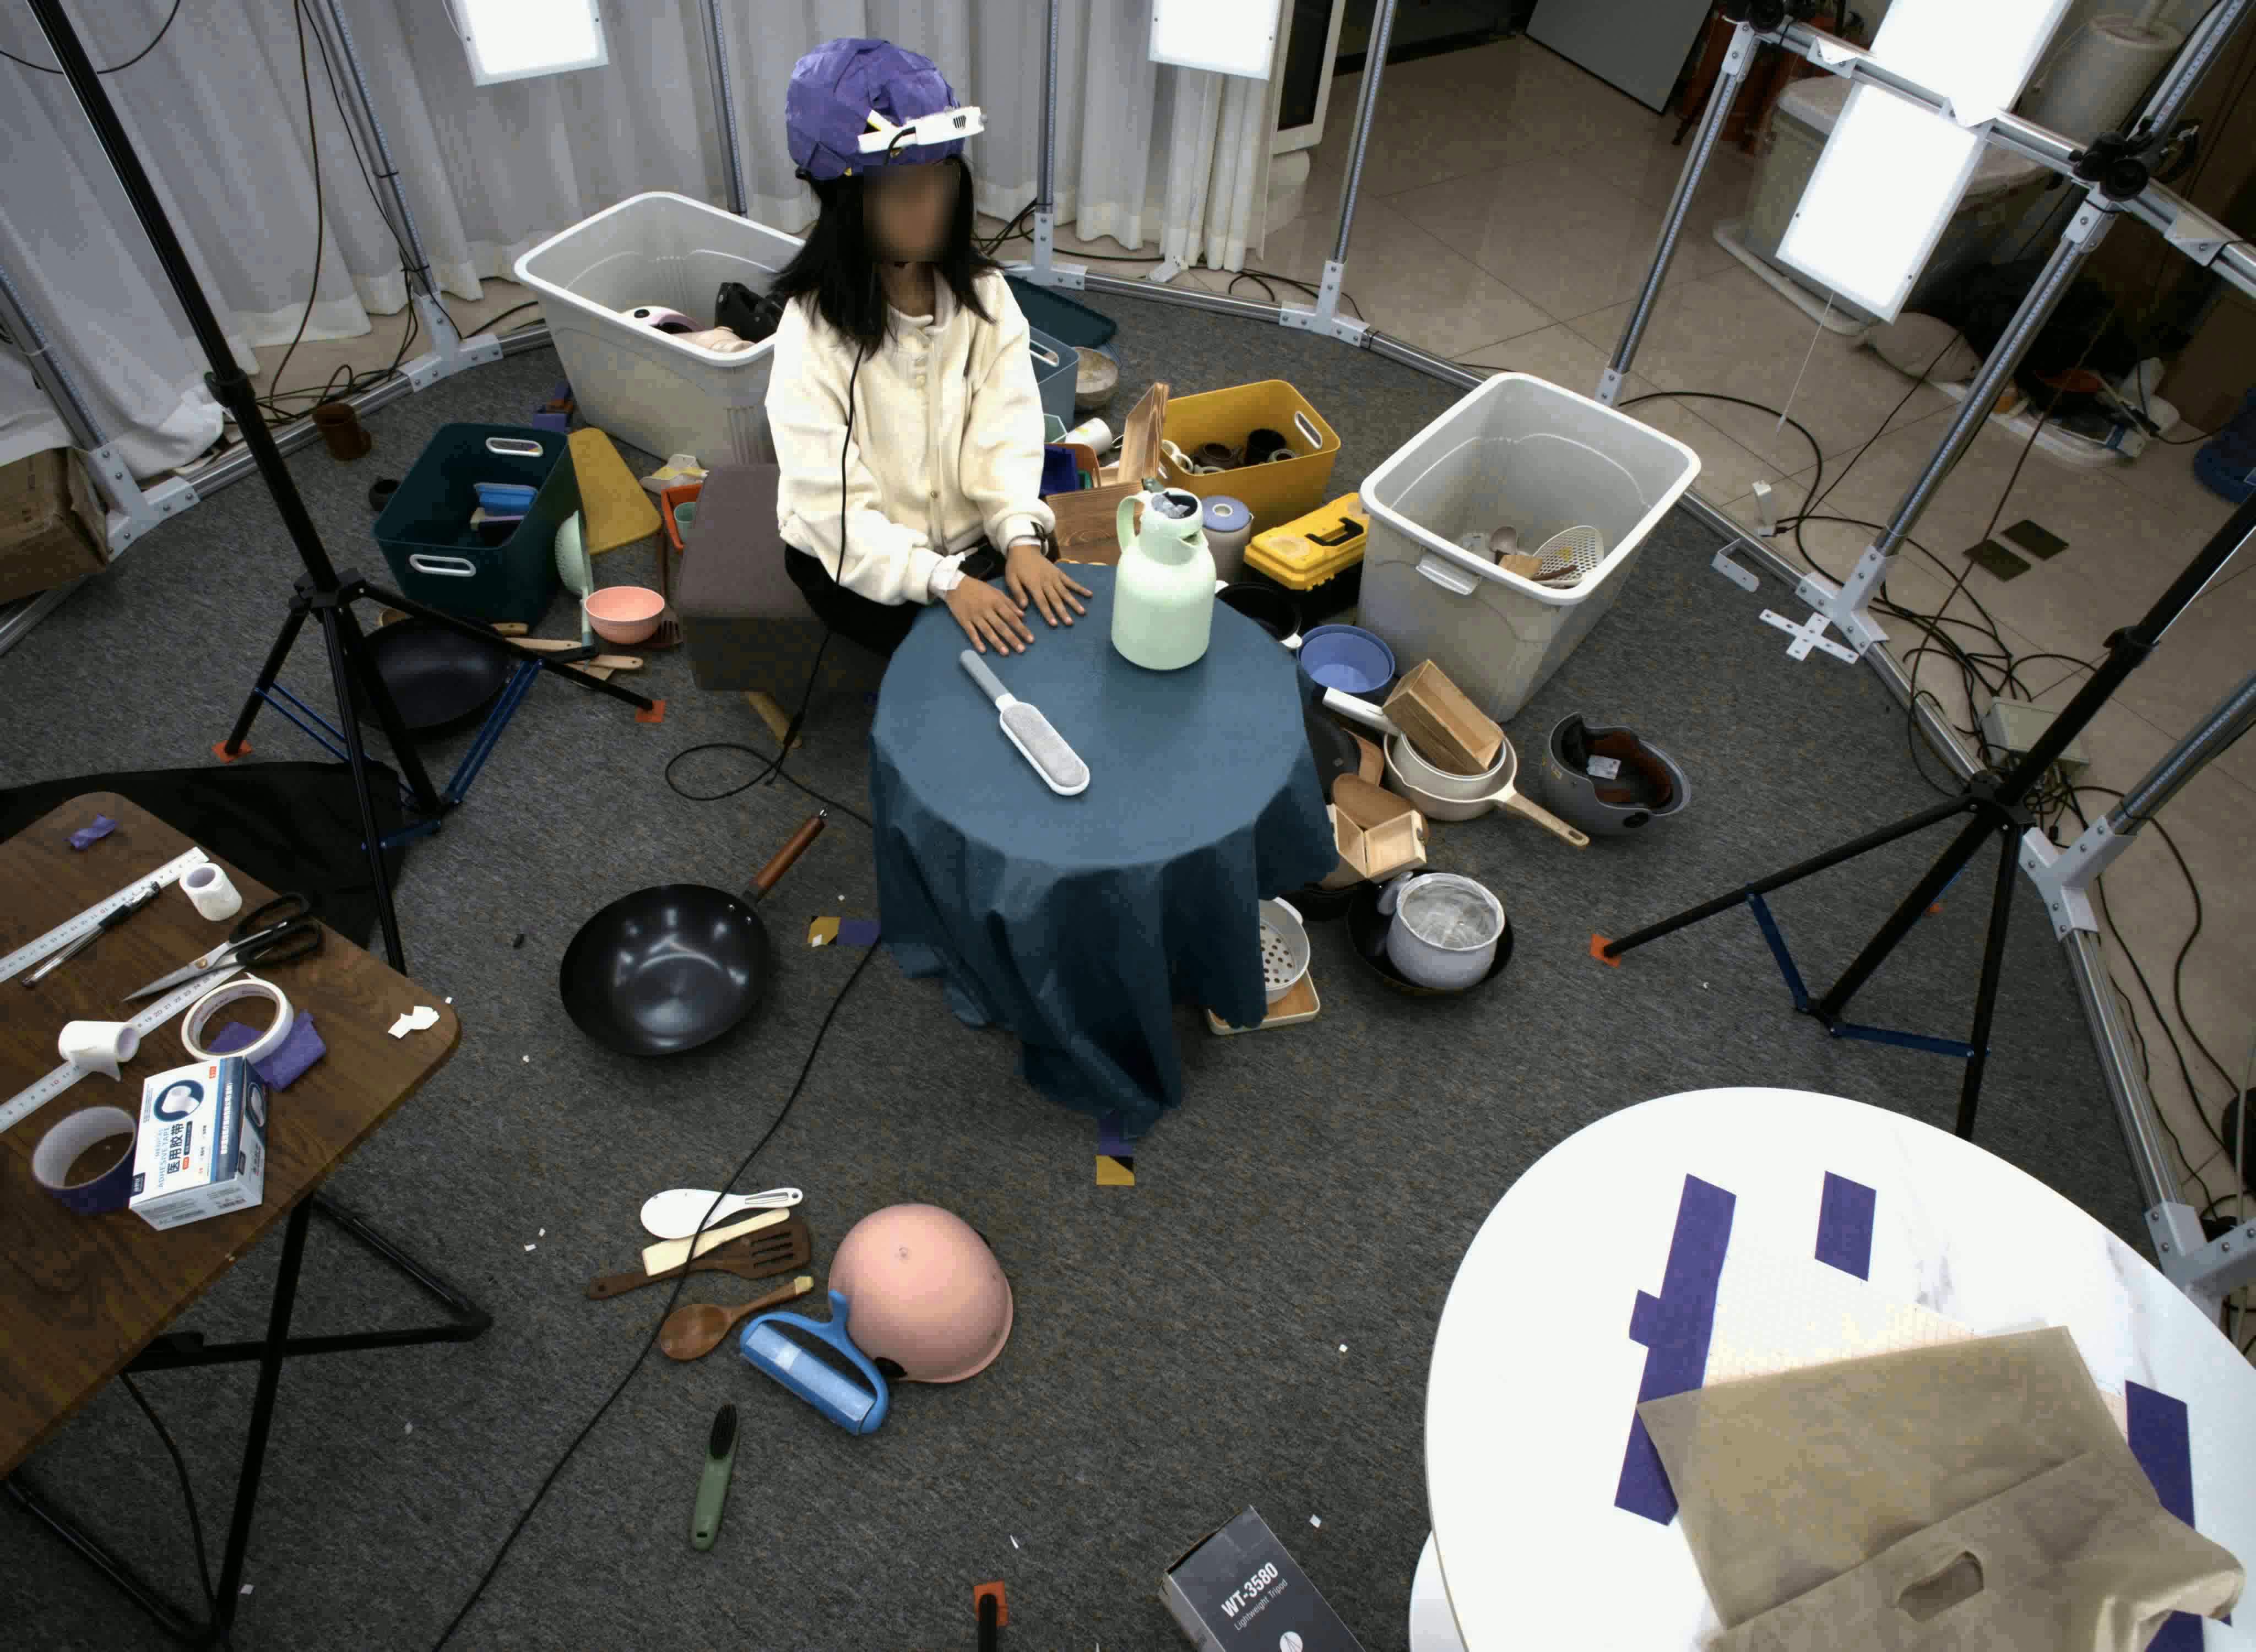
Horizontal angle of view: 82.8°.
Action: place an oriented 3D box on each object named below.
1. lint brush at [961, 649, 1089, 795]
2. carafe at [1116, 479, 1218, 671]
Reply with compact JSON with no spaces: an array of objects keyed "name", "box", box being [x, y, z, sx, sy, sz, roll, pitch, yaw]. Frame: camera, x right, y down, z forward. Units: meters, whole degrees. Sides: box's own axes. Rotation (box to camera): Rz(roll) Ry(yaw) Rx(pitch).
[{"name":"lint brush","box":[-0.148,-0.149,1.774,0.060,0.020,0.315,-26,55,-21]},{"name":"carafe","box":[0.048,-0.362,1.827,0.145,0.250,0.190,-26,52,-22]}]
